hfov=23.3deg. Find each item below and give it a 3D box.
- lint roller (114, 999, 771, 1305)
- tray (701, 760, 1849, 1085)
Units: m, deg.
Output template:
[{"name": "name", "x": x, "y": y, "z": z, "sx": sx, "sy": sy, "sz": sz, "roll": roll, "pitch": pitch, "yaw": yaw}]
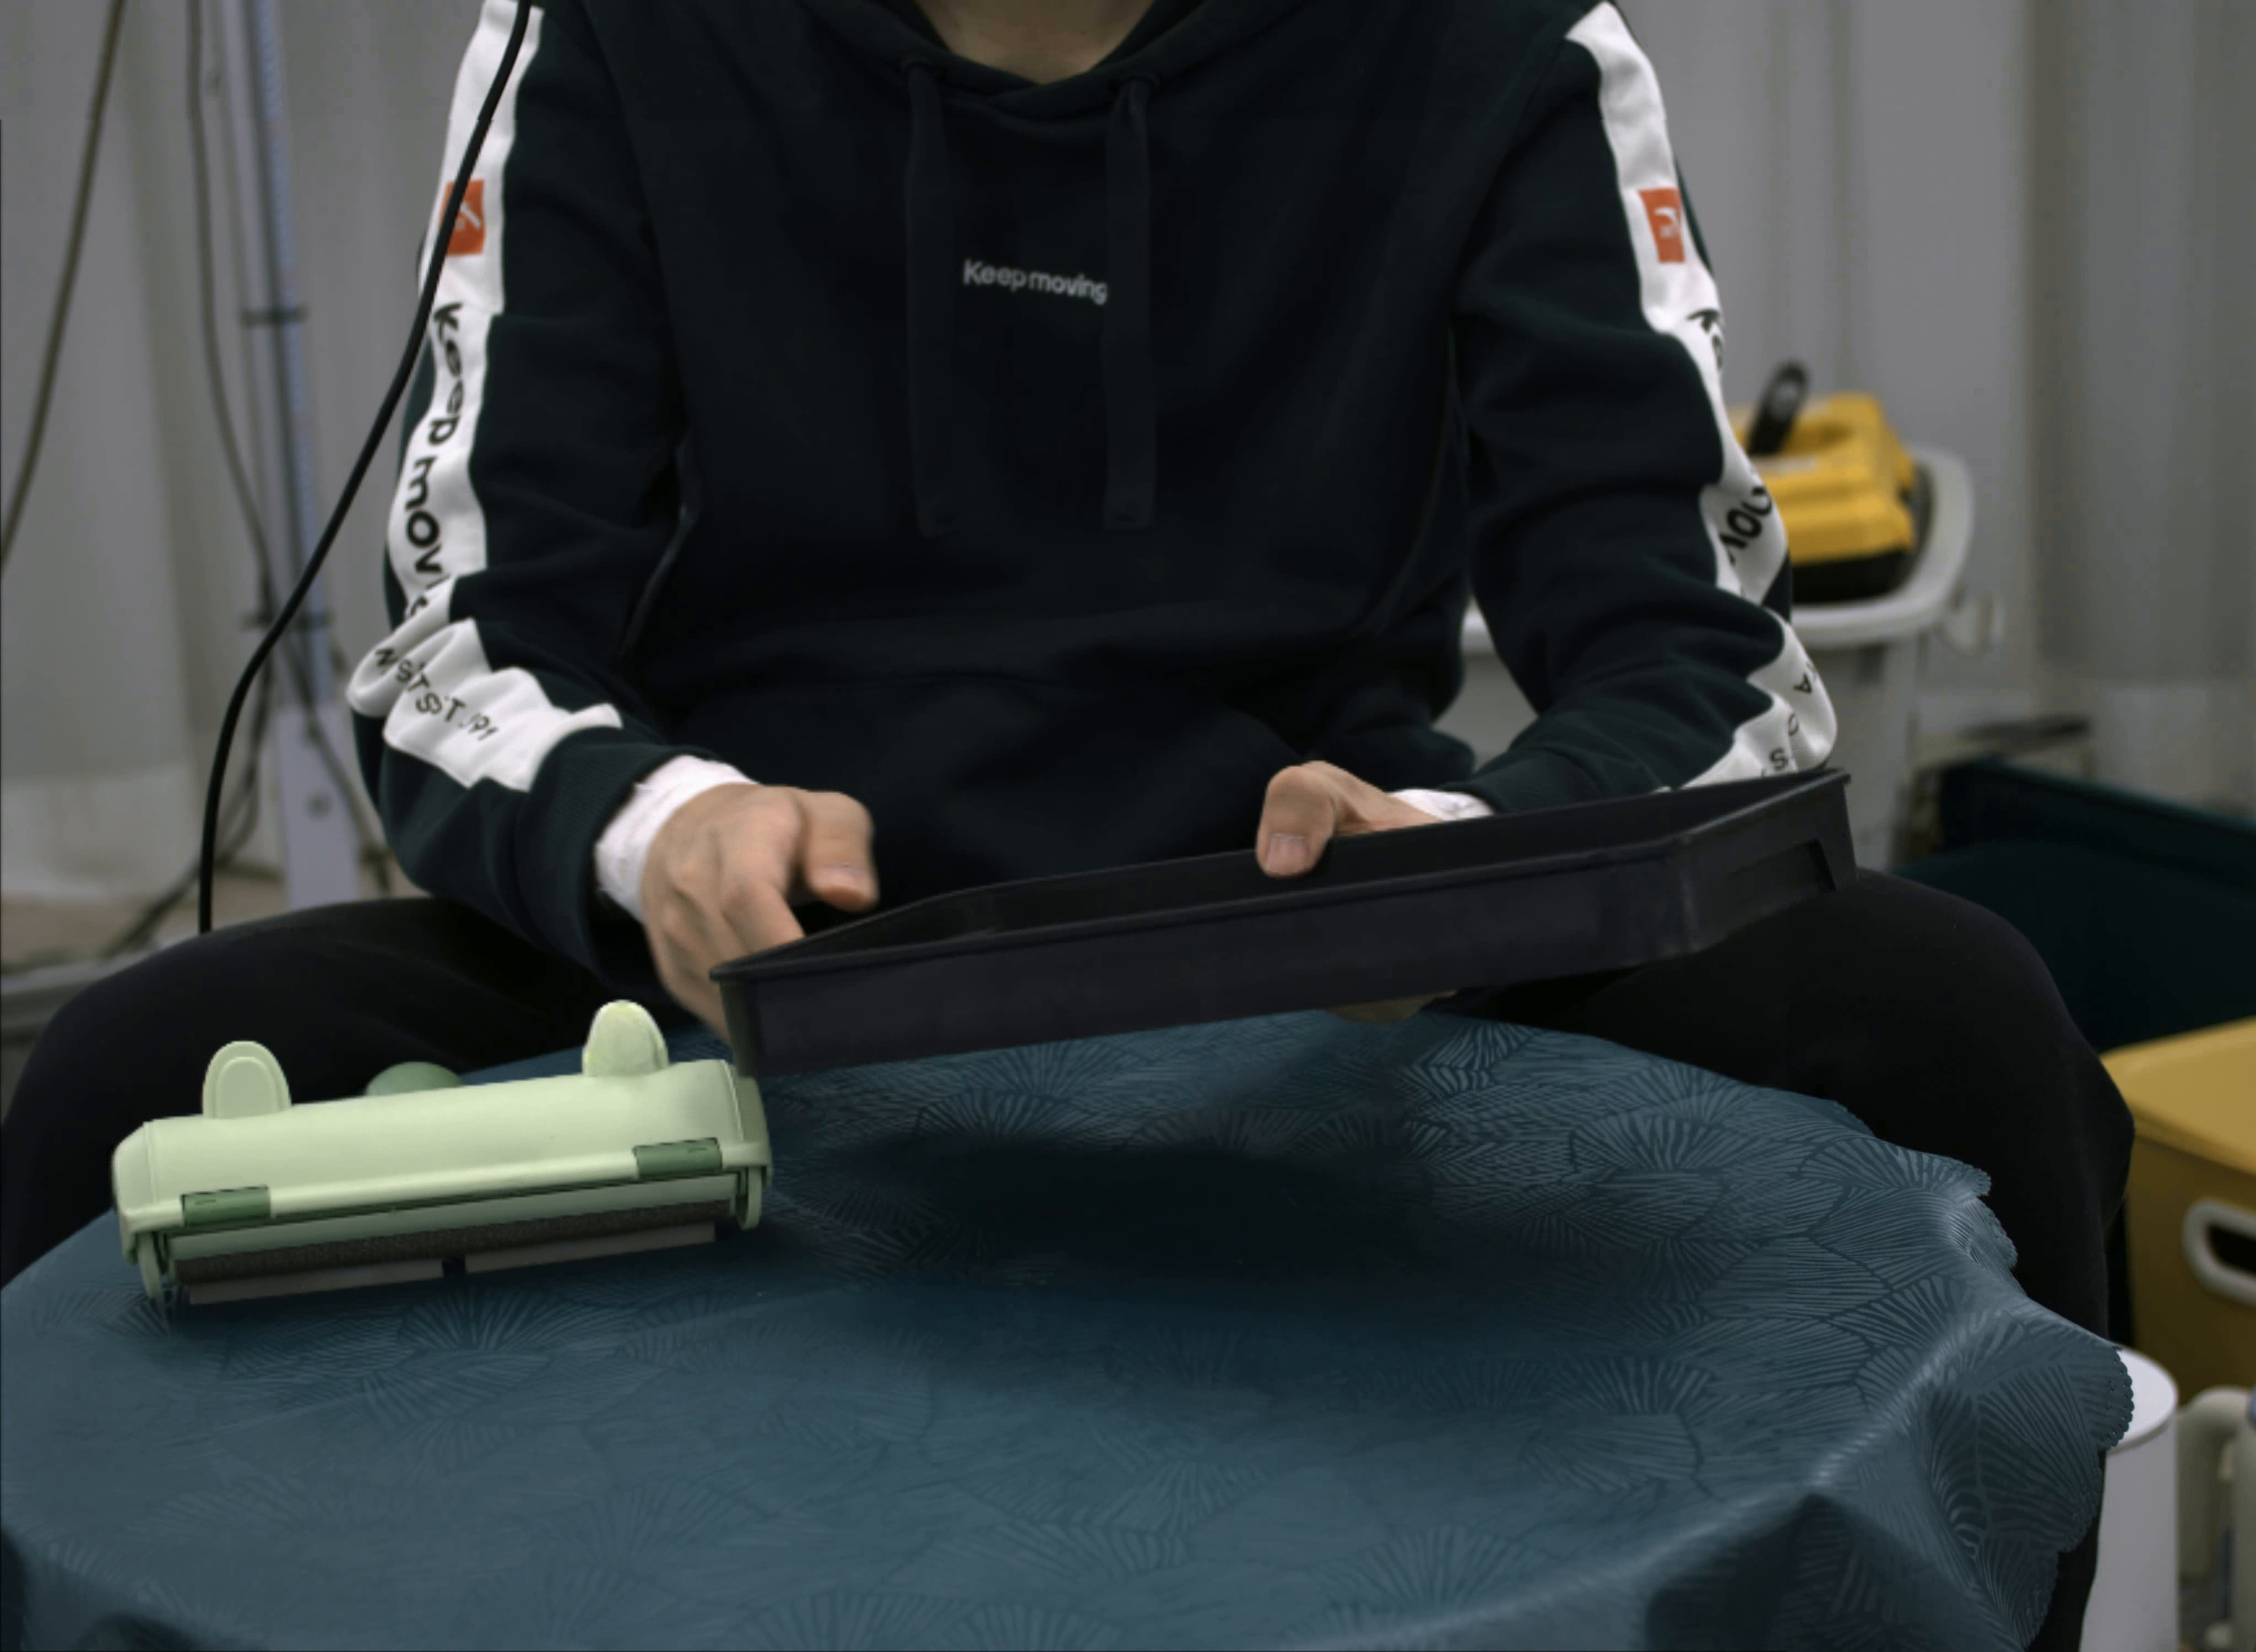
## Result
[{"name": "lint roller", "x": -0.220, "y": 0.085, "z": 1.717, "sx": 0.198, "sy": 0.082, "sz": 0.185, "roll": -6, "pitch": 18, "yaw": -11}, {"name": "tray", "x": 0.046, "y": 0.029, "z": 1.645, "sx": 0.318, "sy": 0.037, "sz": 0.184, "roll": -9, "pitch": 4, "yaw": 26}]
